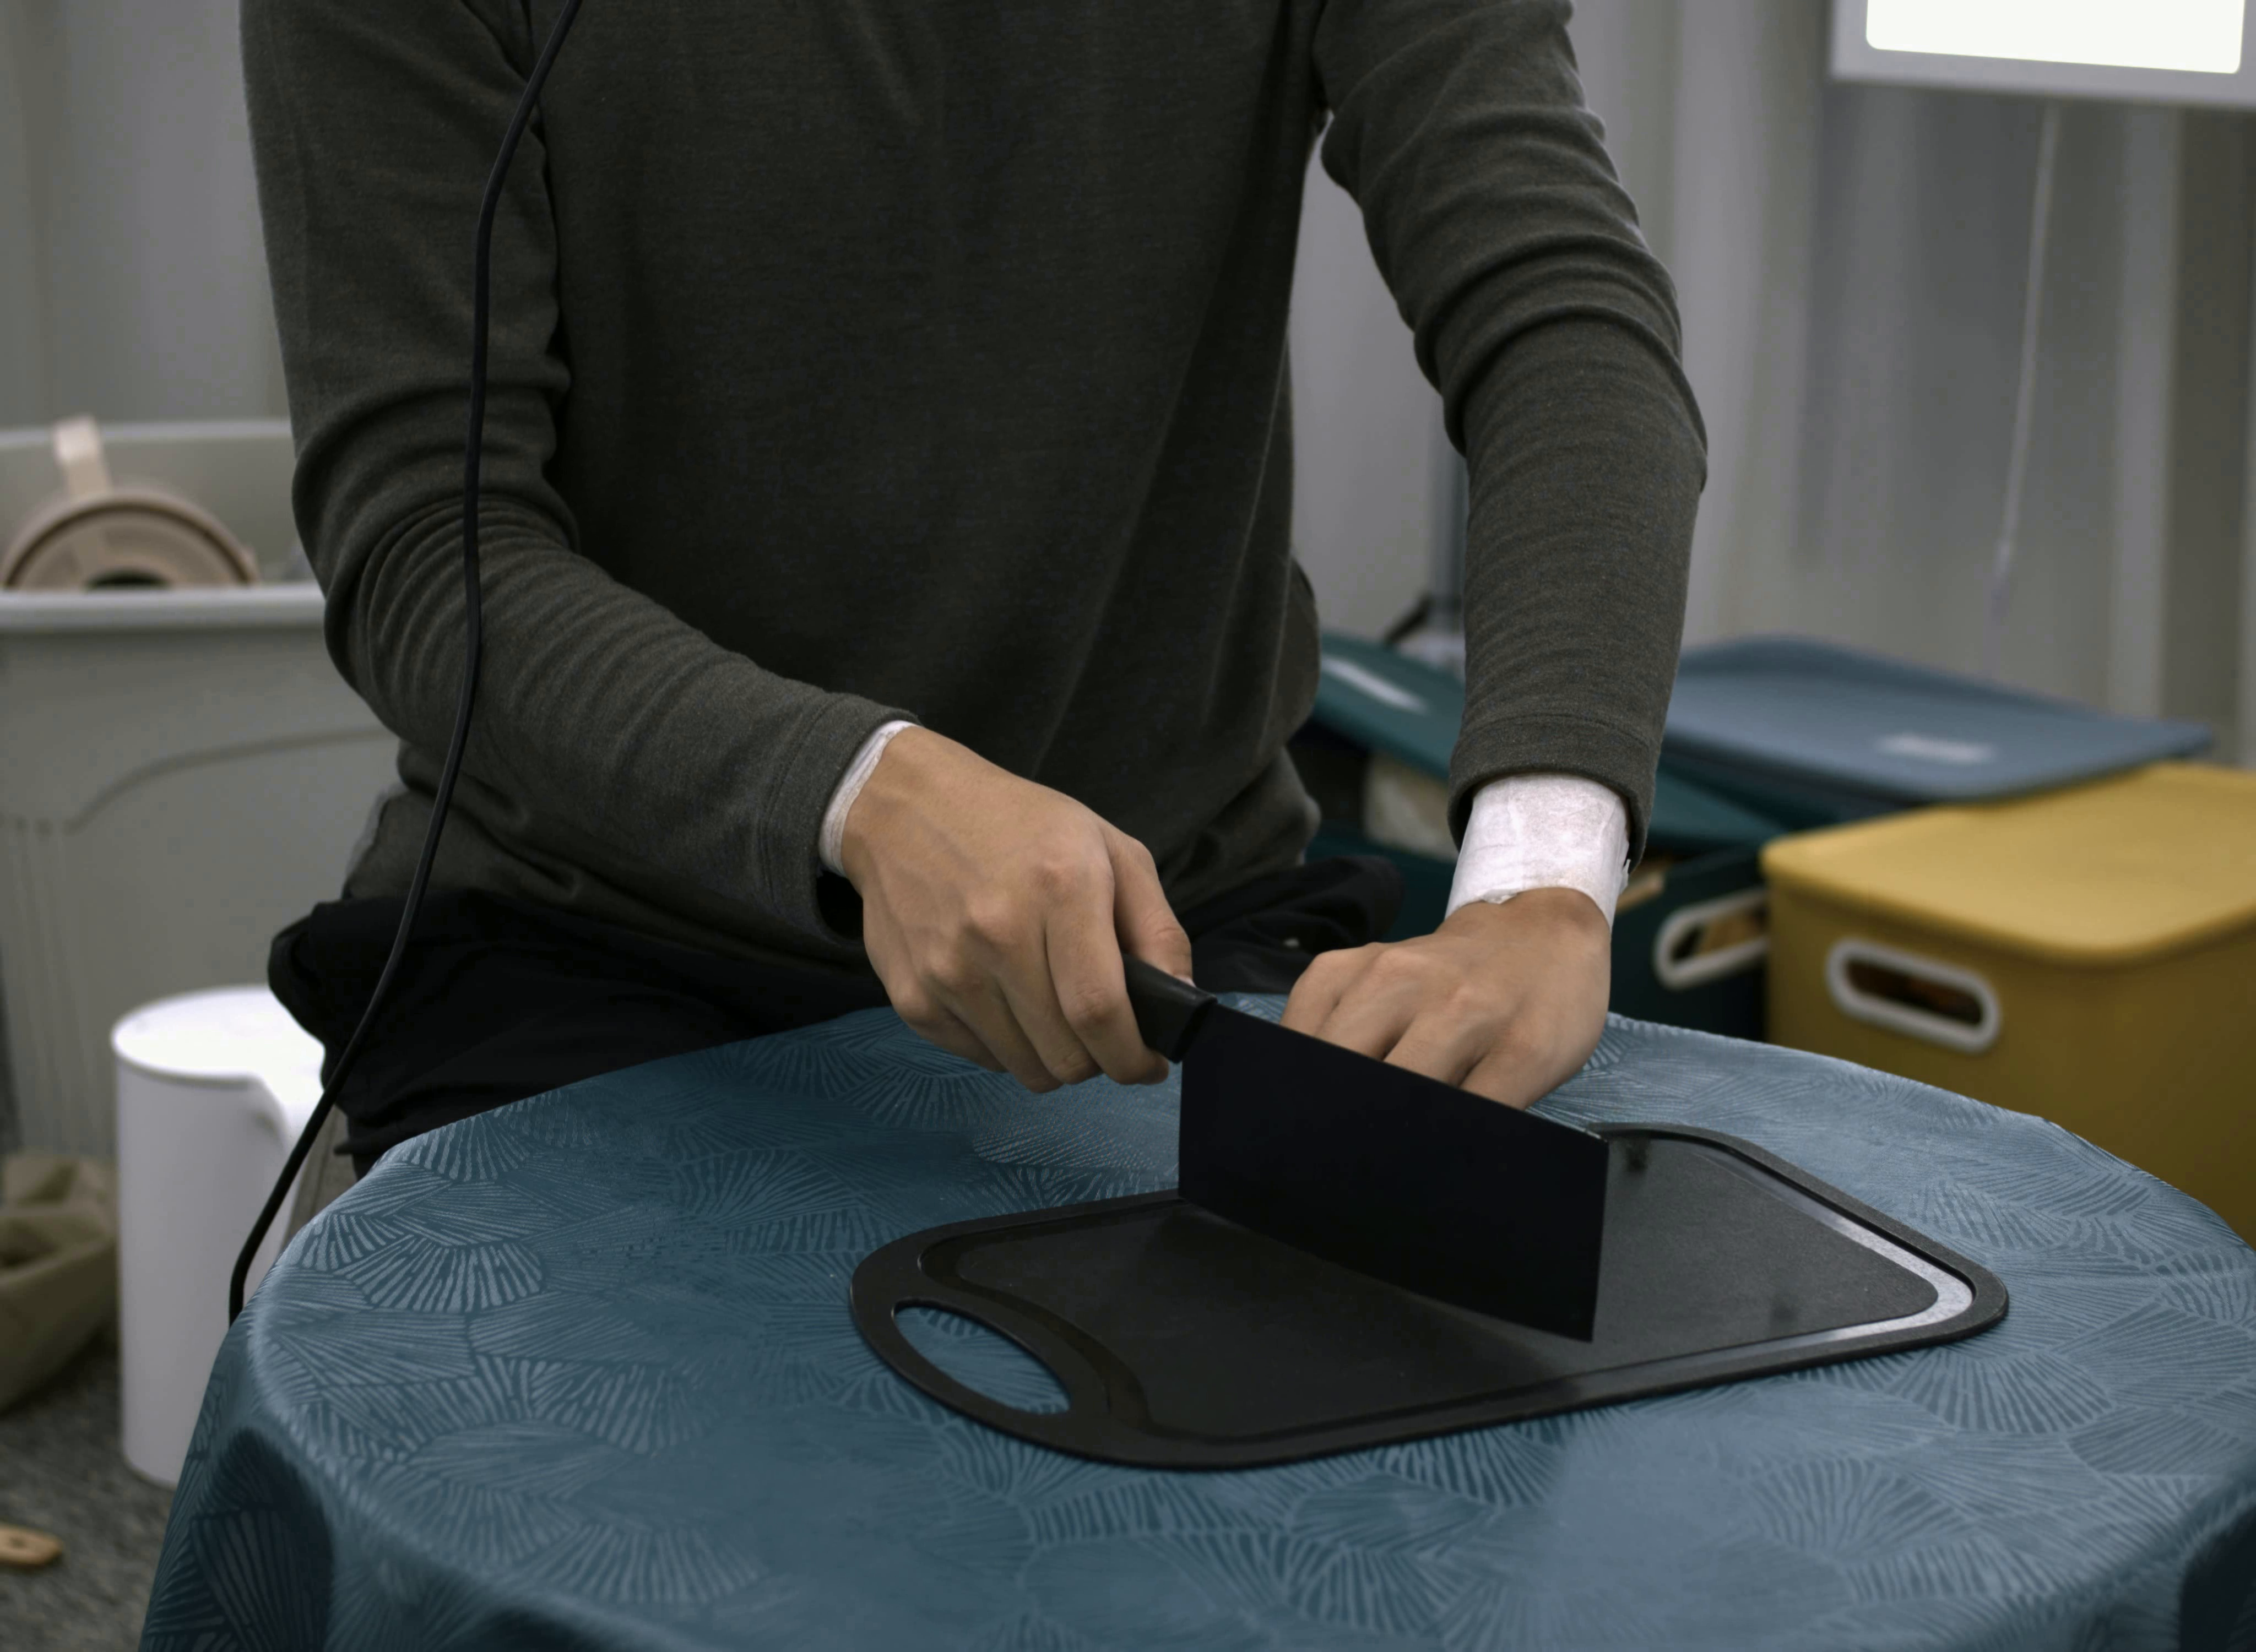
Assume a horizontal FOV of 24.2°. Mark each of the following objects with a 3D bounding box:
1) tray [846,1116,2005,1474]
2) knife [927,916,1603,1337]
[{"bbox_3d":[0.081,0.132,1.537,0.326,0.010,0.208,-6,18,-25],"label":"tray"},{"bbox_3d":[0.036,0.083,1.576,0.021,0.081,0.298,-8,21,-40],"label":"knife"}]
